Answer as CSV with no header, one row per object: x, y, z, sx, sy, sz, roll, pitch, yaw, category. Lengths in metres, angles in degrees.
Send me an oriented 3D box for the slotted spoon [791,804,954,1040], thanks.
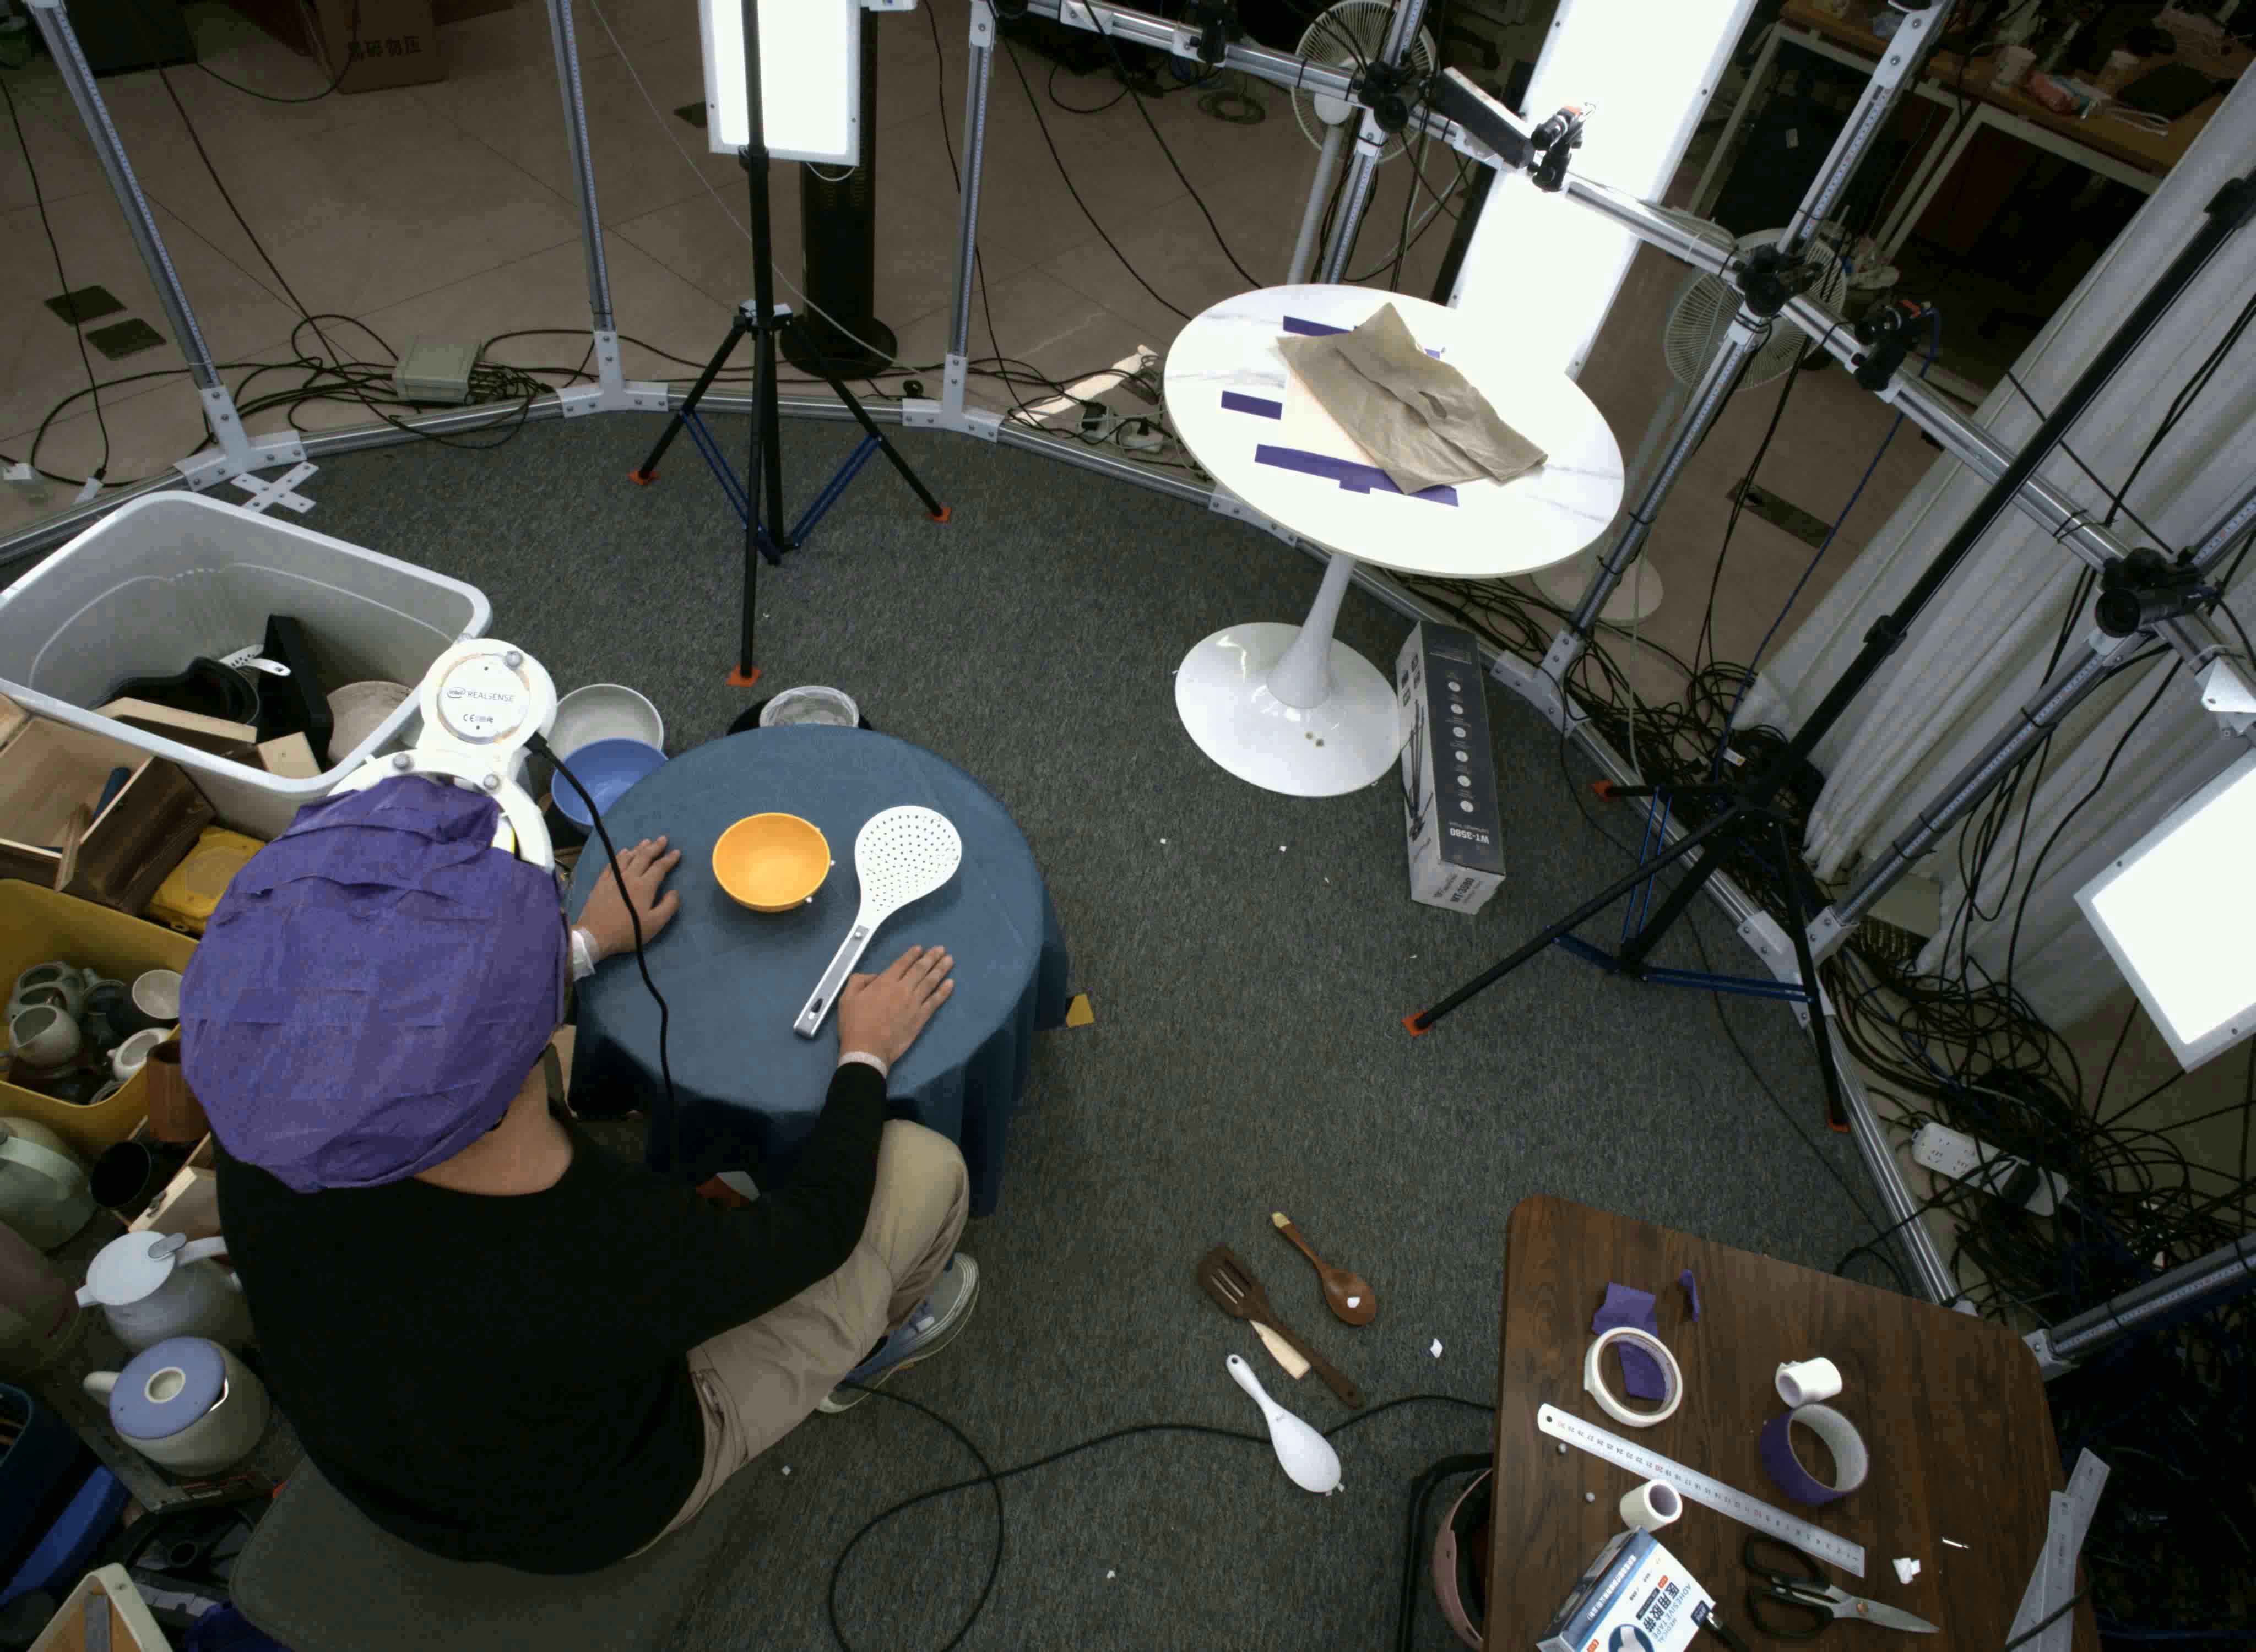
-0.329,0.114,1.629,0.134,0.046,0.347,22,53,3,slotted spoon

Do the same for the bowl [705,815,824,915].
-0.455,0.059,1.630,0.145,0.061,0.142,7,51,-7,bowl
